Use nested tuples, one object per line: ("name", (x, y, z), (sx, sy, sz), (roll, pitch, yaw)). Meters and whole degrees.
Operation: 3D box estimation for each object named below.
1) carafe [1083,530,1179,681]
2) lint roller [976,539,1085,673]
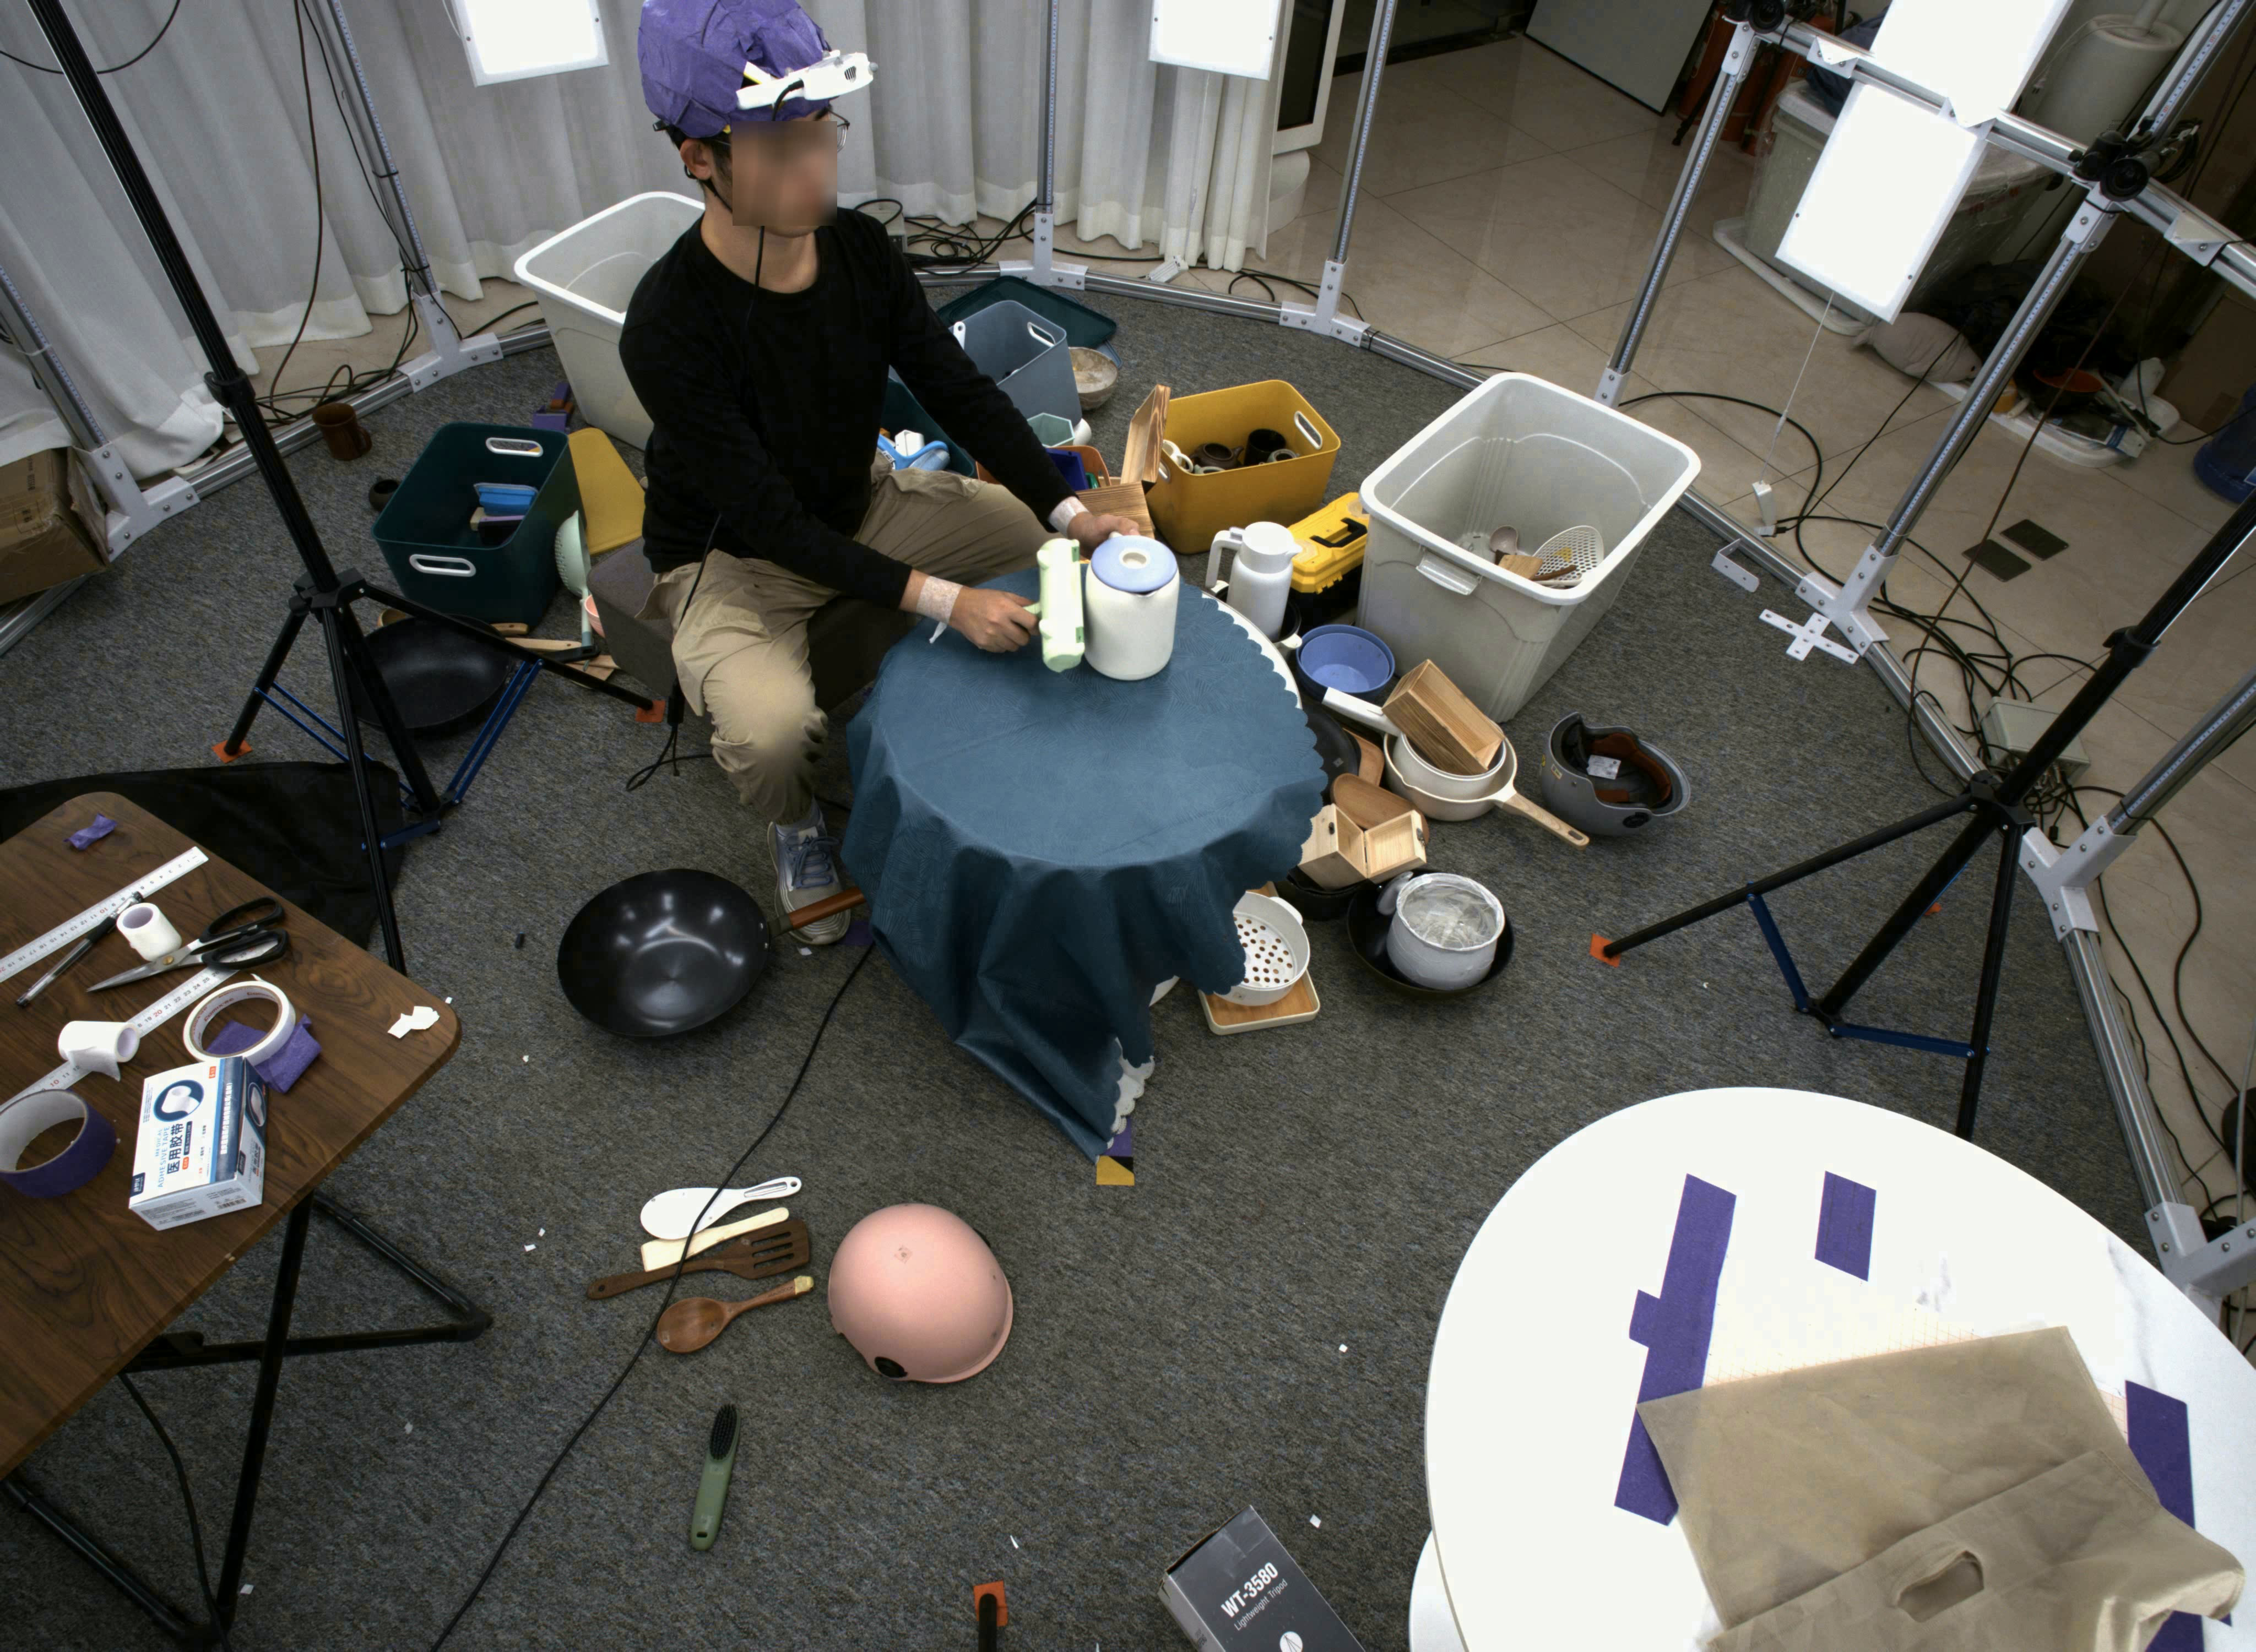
("carafe", (-0.003, -0.328, 1.843), (0.132, 0.178, 0.196), (-10, 49, -13))
("lint roller", (-0.147, -0.305, 1.827), (0.183, 0.080, 0.203), (-12, 62, 18))
